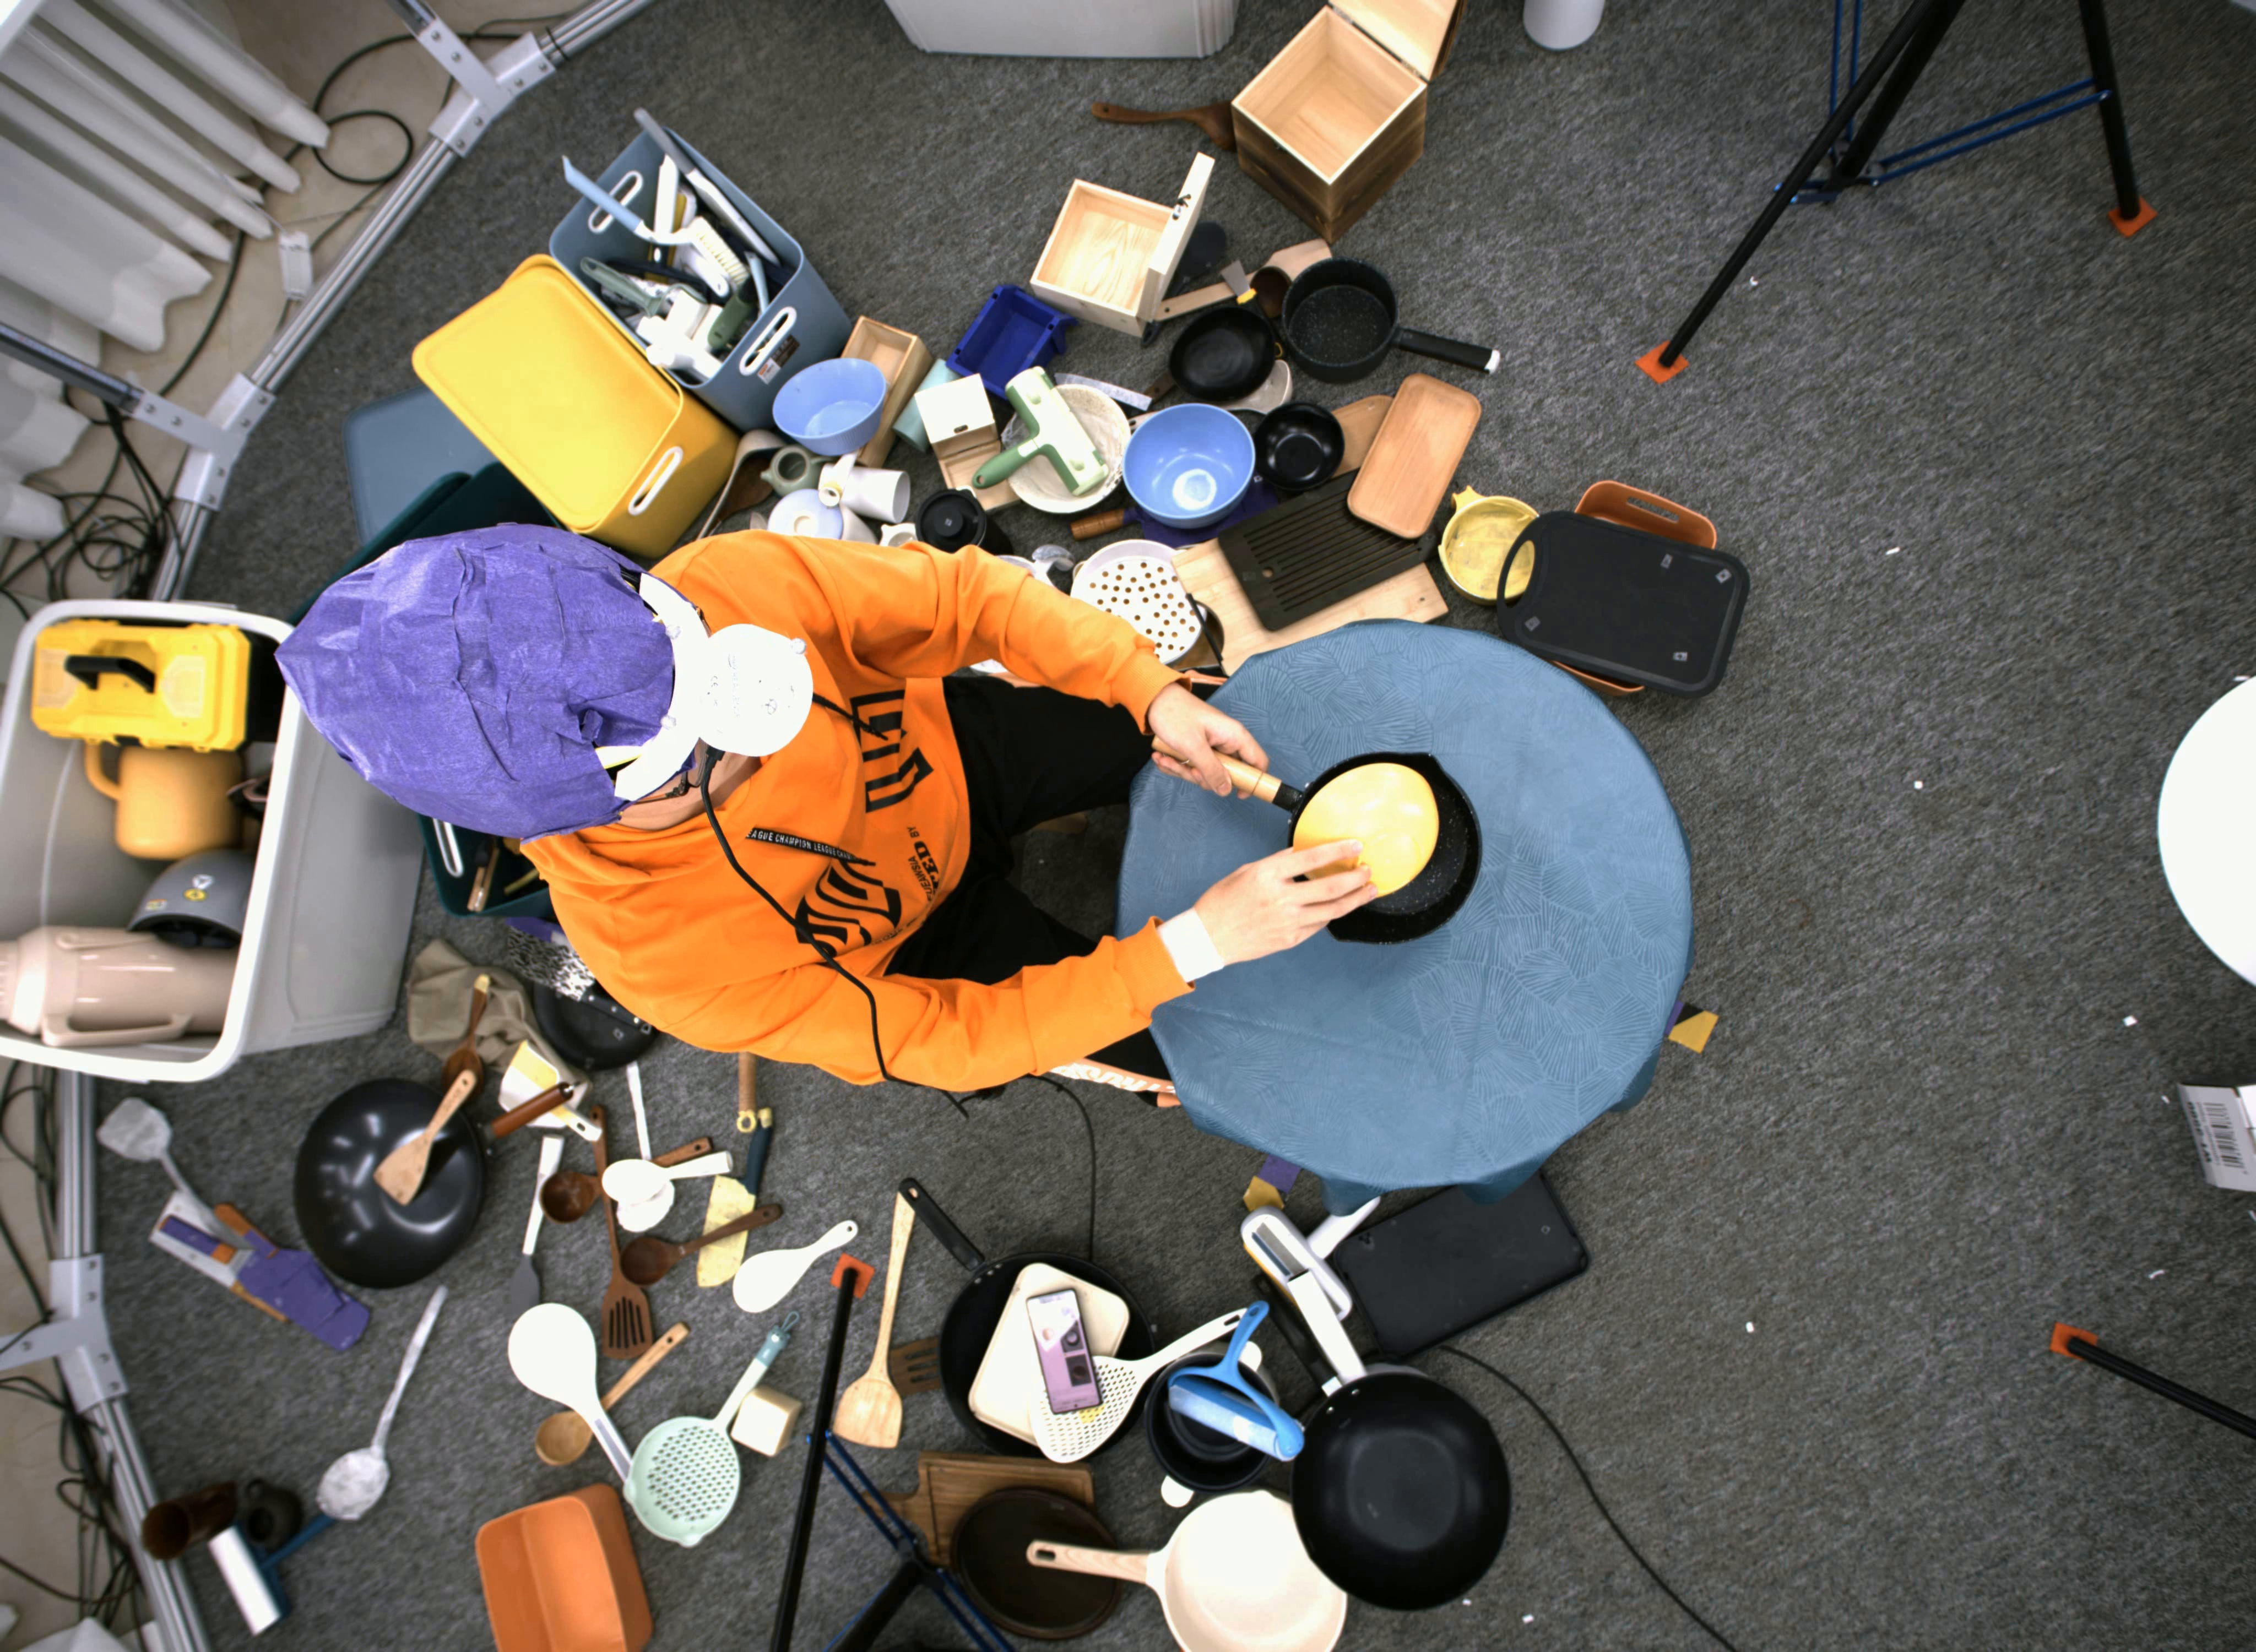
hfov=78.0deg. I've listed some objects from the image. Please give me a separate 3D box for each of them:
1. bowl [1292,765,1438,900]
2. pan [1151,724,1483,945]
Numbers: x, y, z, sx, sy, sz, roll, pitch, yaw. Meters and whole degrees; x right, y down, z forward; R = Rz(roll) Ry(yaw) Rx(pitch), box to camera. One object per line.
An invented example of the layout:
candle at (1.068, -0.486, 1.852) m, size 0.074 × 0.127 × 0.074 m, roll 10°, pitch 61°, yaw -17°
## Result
bowl at (0.229, 0.018, 1.275) m, size 0.146 × 0.147 × 0.059 m, roll -32°, pitch 39°, yaw 6°
pan at (0.183, -0.016, 1.359) m, size 0.342 × 0.107 × 0.210 m, roll 27°, pitch 104°, yaw 14°
